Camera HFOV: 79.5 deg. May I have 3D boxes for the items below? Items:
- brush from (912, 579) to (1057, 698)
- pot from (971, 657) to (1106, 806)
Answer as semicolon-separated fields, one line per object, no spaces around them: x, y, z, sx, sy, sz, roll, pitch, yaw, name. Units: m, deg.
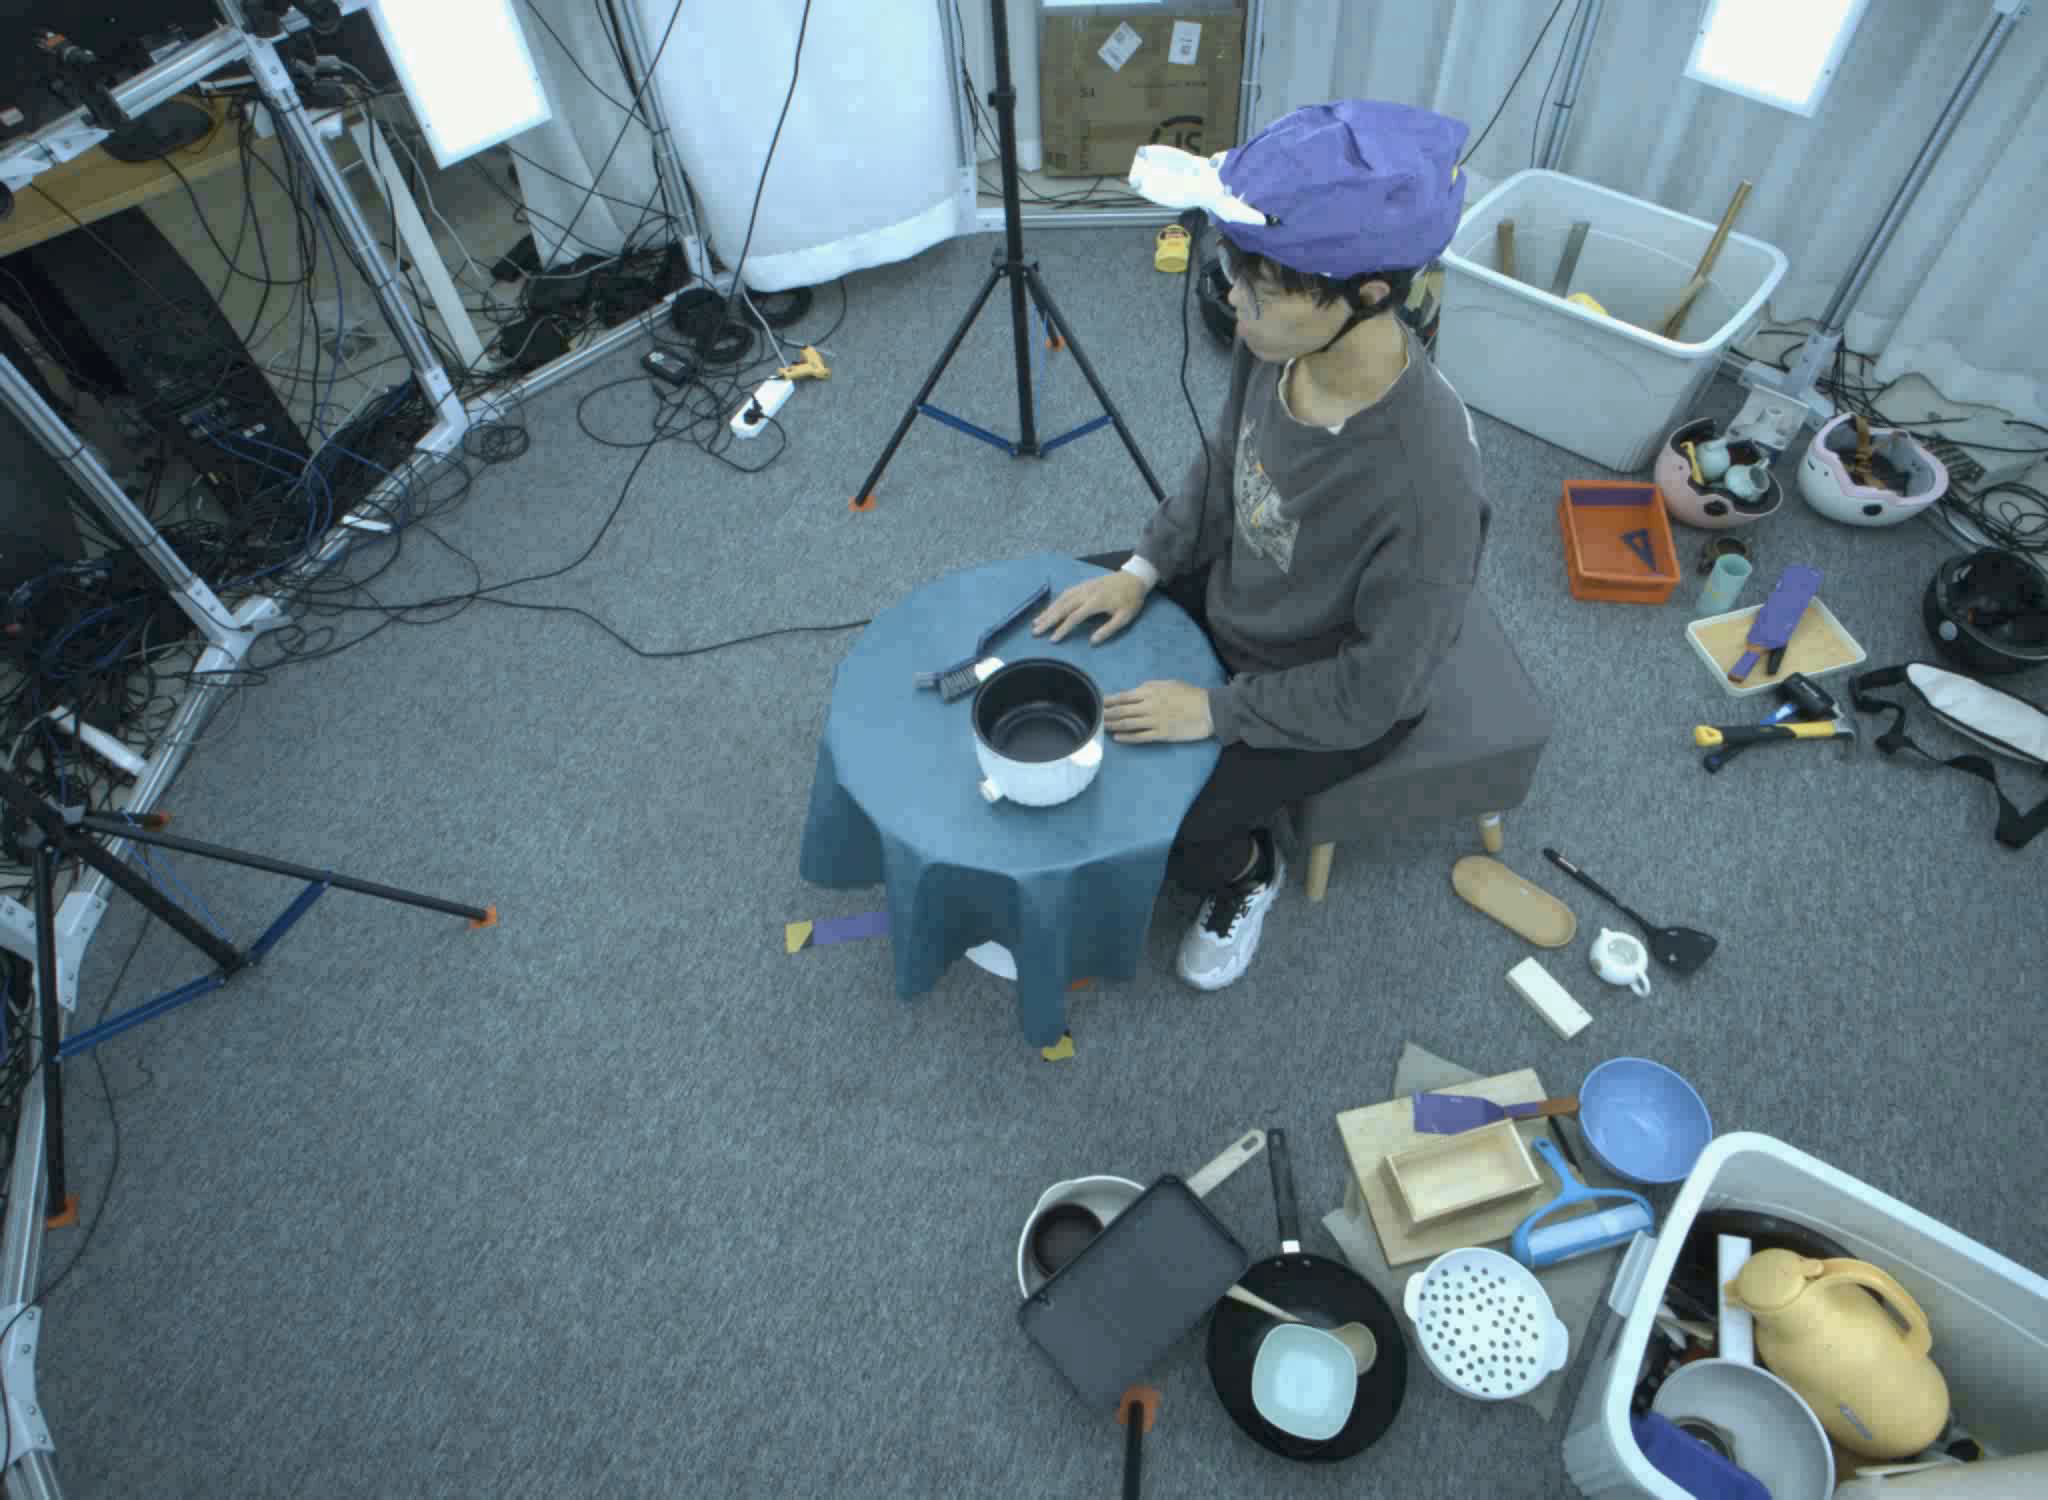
-0.054;-0.180;1.897;0.094;0.034;0.274;30;62;22;brush
0.019;-0.014;1.708;0.192;0.144;0.236;-35;59;-25;pot
